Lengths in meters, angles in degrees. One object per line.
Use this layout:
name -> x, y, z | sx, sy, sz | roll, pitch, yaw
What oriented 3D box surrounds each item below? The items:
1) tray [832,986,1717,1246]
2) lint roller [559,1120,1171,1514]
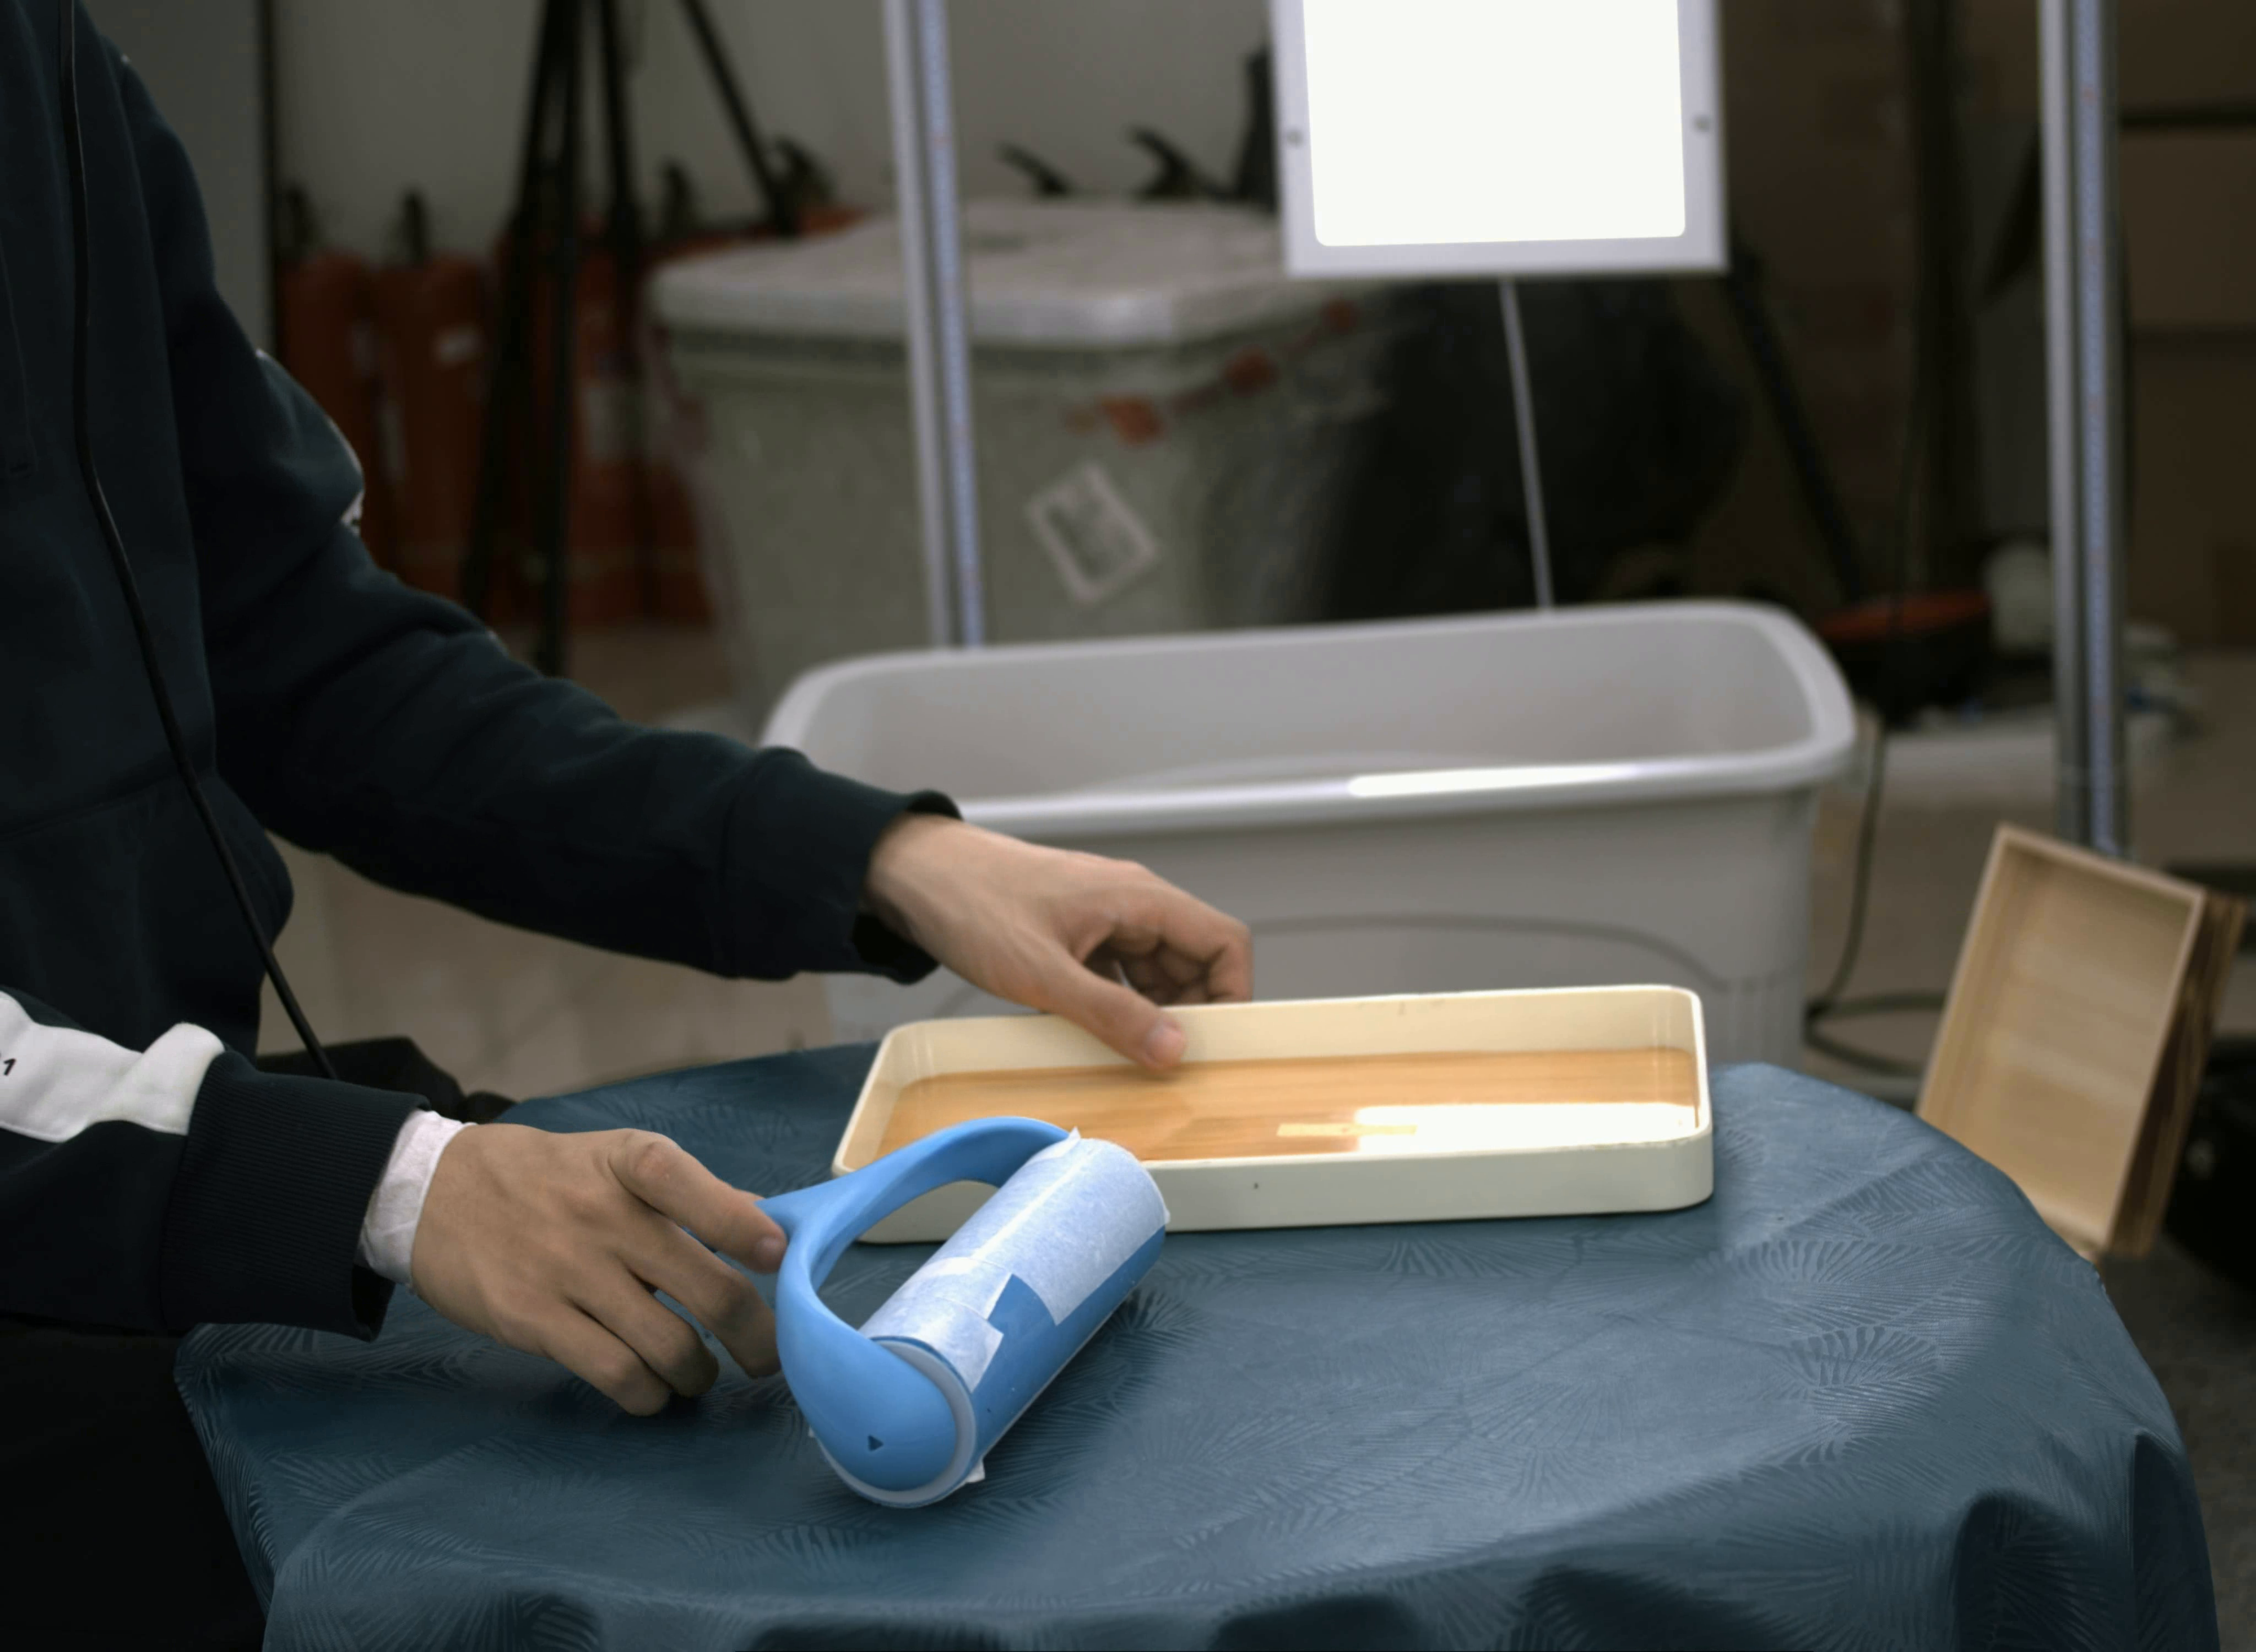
tray -> 0.055, 0.100, 1.926 | 0.301, 0.027, 0.190 | -3, 14, 8
lint roller -> -0.094, 0.149, 1.715 | 0.182, 0.068, 0.226 | 2, 17, 14
